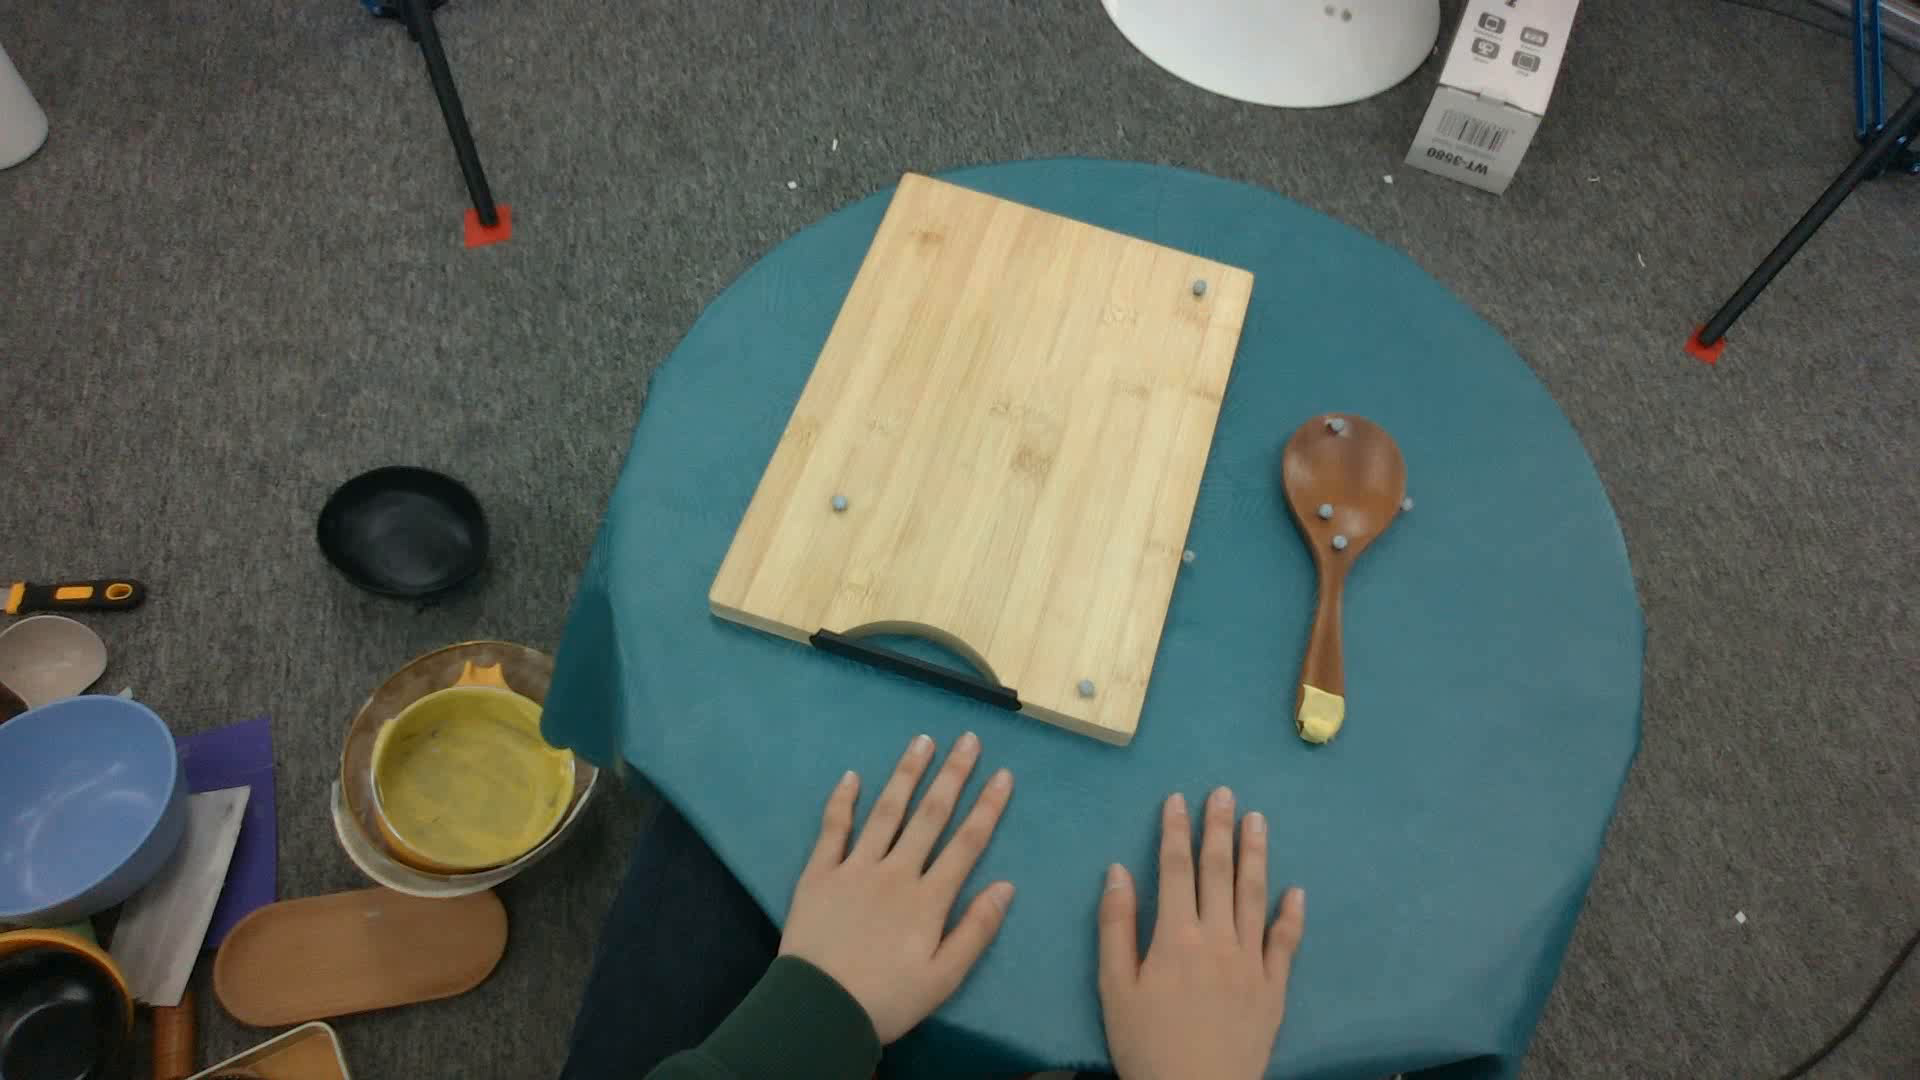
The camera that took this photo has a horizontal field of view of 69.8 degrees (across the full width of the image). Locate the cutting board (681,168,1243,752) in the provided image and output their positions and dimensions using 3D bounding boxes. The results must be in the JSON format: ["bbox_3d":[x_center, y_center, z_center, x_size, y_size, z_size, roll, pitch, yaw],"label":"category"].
[{"bbox_3d":[0.017,-0.065,0.818,0.250,0.023,0.350,16,59,4],"label":"cutting board"}]

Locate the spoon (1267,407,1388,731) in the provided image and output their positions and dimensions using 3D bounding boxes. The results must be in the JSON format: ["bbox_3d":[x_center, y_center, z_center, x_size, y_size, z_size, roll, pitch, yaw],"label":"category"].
[{"bbox_3d":[0.207,0.012,0.794,0.075,0.017,0.217,14,58,0],"label":"spoon"}]
